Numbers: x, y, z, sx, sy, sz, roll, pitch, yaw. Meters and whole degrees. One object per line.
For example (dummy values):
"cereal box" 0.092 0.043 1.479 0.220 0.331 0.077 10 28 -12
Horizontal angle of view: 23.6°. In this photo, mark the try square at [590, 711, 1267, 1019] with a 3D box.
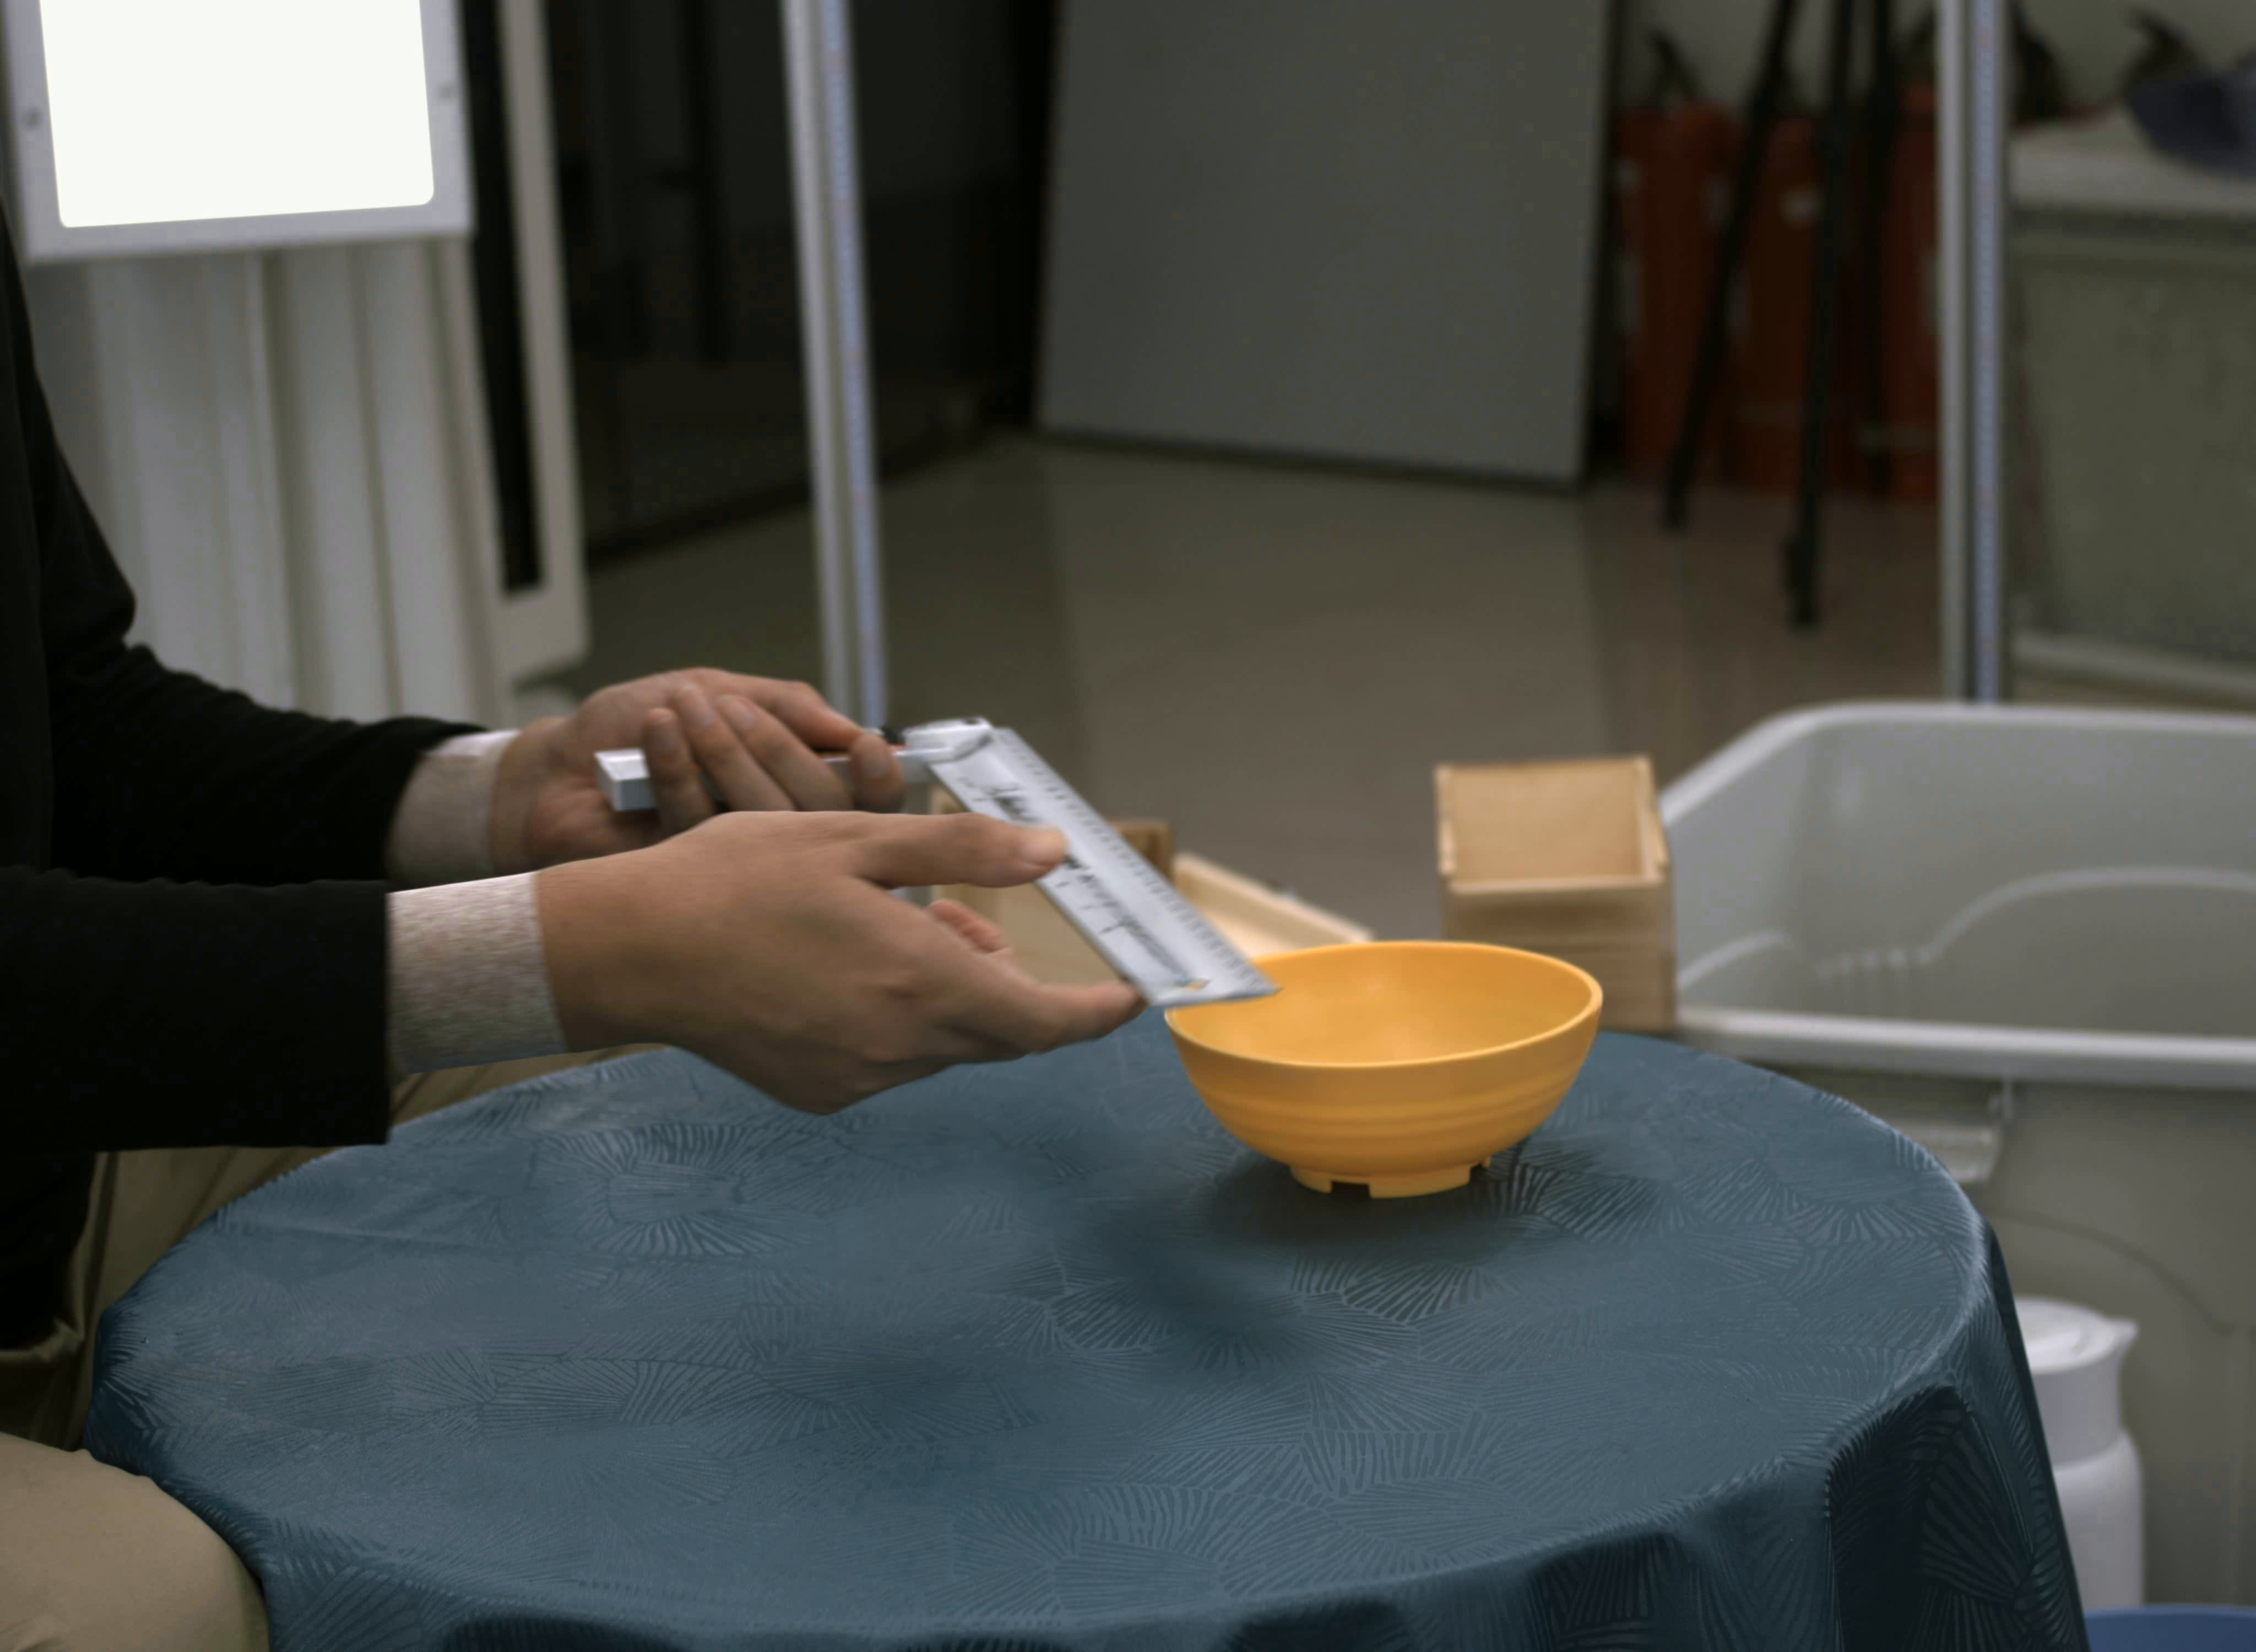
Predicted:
"try square" -0.072 0.018 1.756 0.149 0.016 0.315 -10 19 -14

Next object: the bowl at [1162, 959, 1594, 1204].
"bowl" 0.083 0.087 1.767 0.143 0.061 0.145 -4 11 0
